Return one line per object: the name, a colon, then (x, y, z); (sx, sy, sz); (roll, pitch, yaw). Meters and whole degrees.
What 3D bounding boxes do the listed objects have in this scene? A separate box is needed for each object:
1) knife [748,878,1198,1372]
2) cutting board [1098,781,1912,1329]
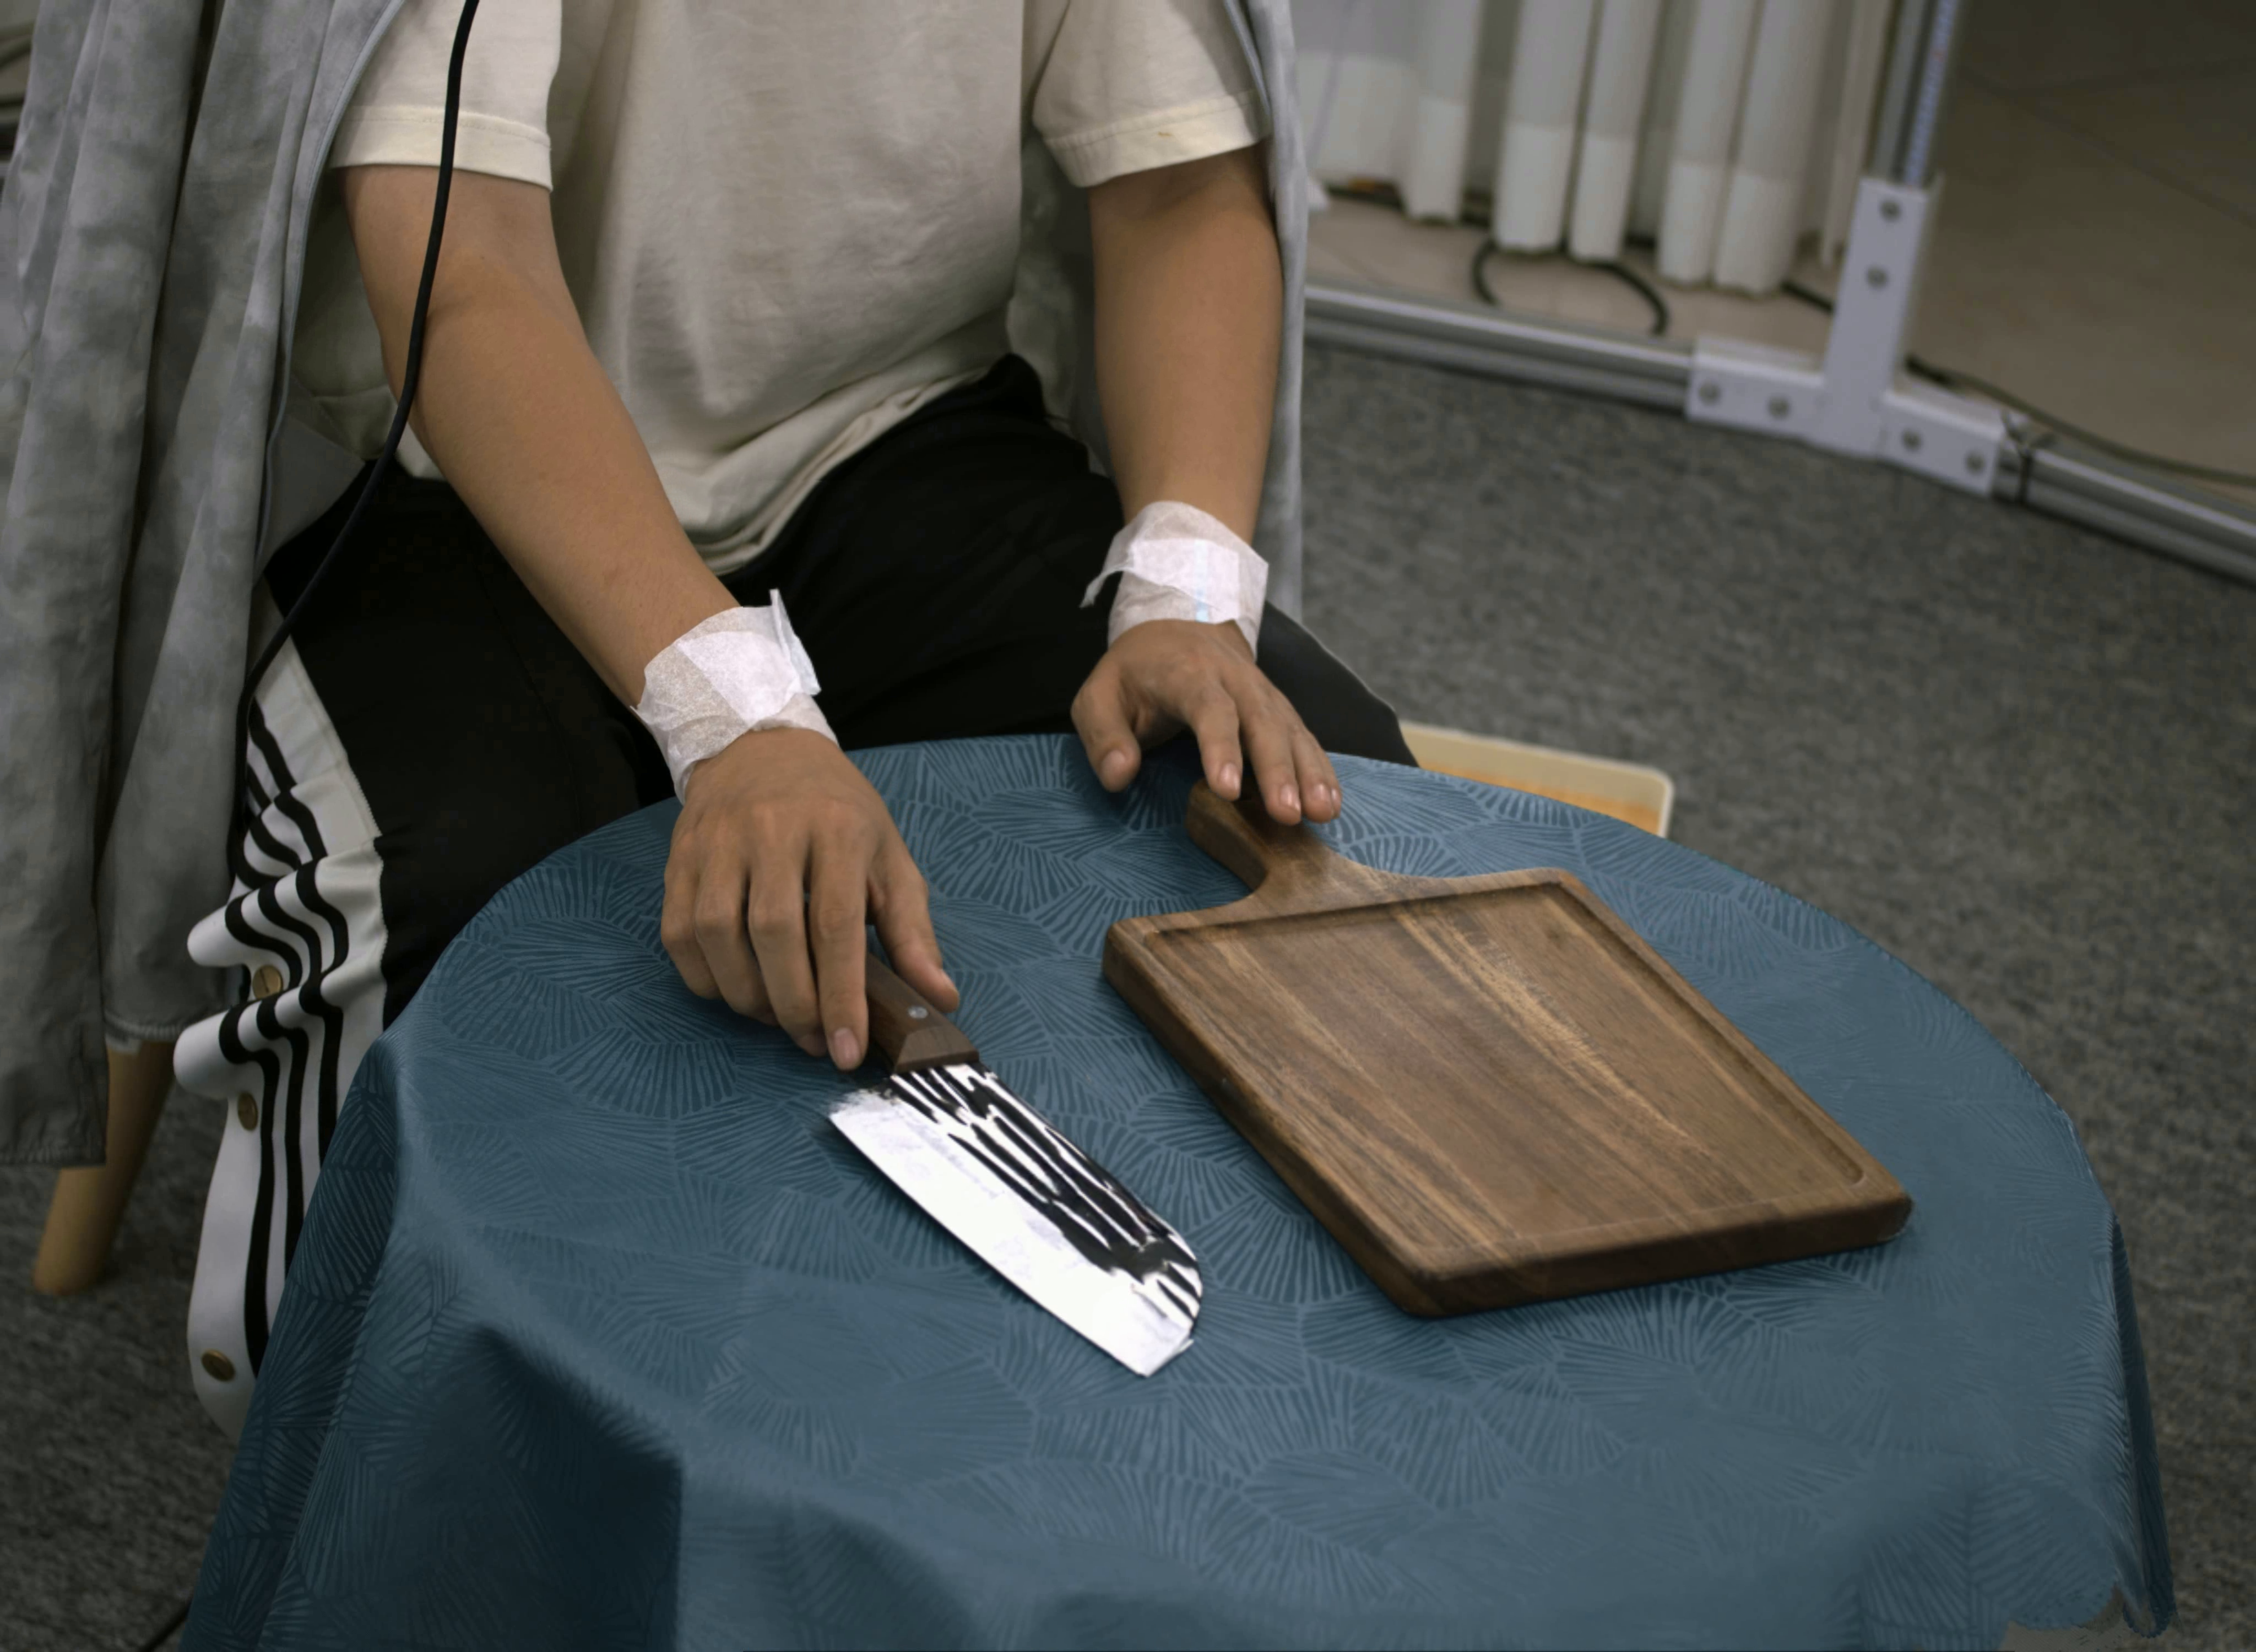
knife: (-0.063, 0.100, 1.816); (0.068, 0.024, 0.302); (-14, 36, -32)
cutting board: (0.108, 0.068, 1.920); (0.200, 0.023, 0.355); (-9, 30, -24)
